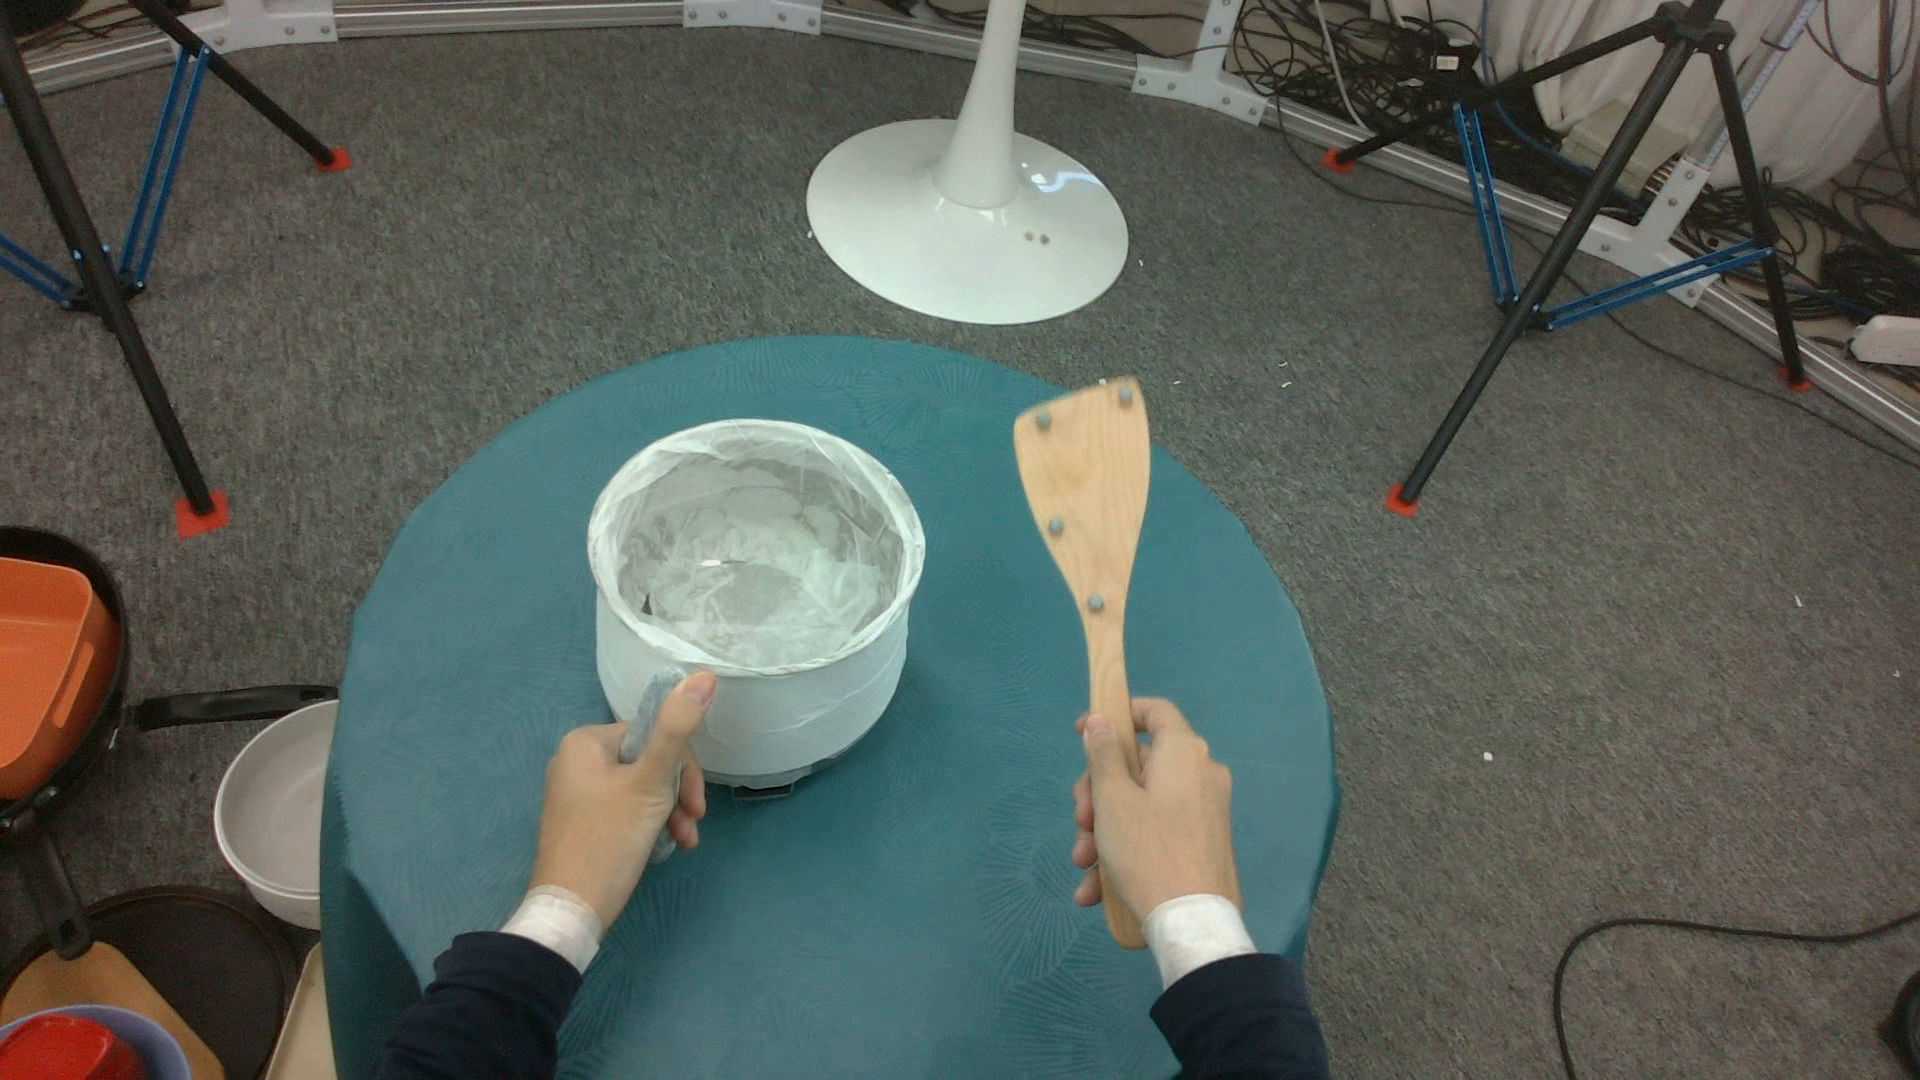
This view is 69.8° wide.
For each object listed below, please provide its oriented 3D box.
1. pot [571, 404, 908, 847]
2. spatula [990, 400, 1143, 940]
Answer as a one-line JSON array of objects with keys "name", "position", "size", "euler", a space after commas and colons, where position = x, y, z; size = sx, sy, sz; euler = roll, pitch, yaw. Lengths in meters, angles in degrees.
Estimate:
[{"name": "pot", "position": [-0.133, 0.050, 0.757], "size": [0.178, 0.136, 0.235], "euler": [19, 47, 5]}, {"name": "spatula", "position": [0.064, 0.053, 0.732], "size": [0.080, 0.016, 0.329], "euler": [-7, 51, 5]}]
